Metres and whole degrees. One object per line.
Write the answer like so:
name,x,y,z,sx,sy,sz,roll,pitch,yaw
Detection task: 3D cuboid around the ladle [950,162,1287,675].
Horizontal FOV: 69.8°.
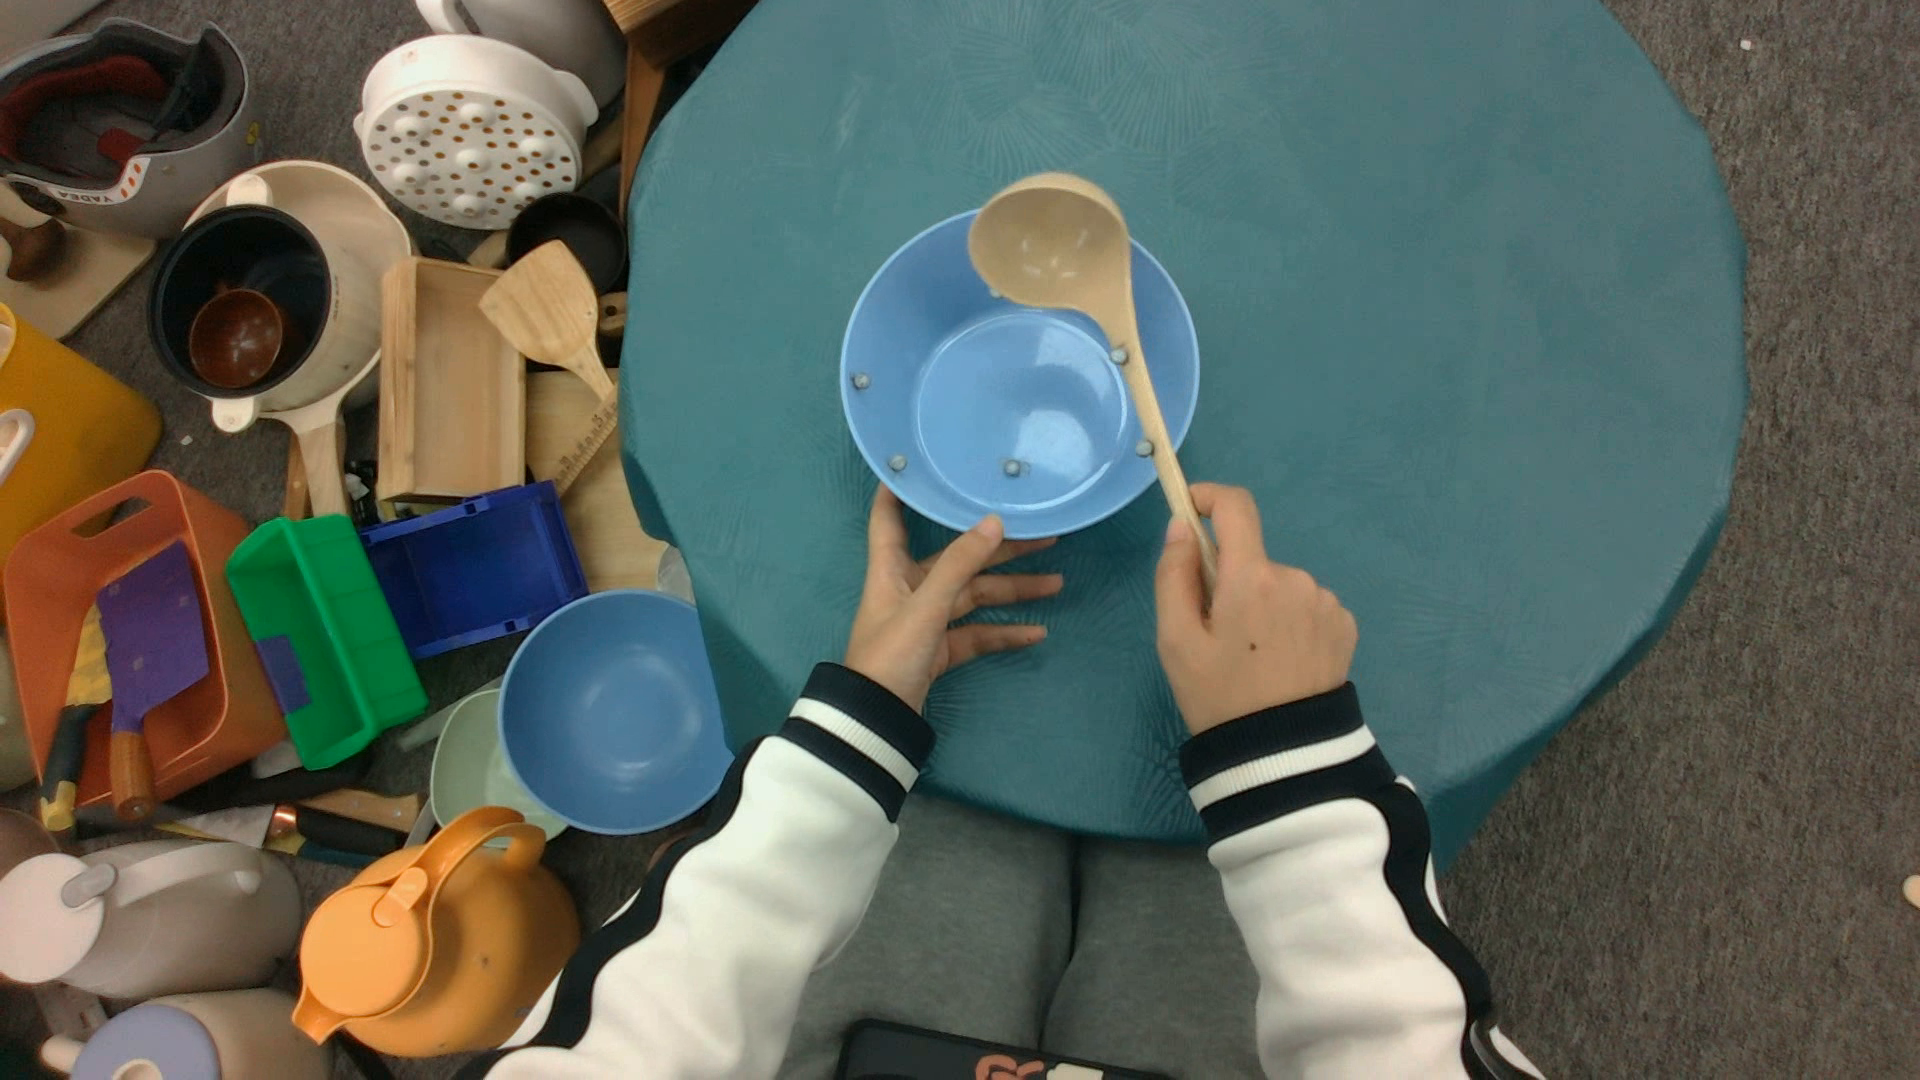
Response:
ladle,0.067,-0.055,0.603,0.072,0.073,0.255,-37,64,33

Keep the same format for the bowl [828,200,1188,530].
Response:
bowl,0.025,-0.081,0.700,0.176,0.070,0.176,-1,74,4
